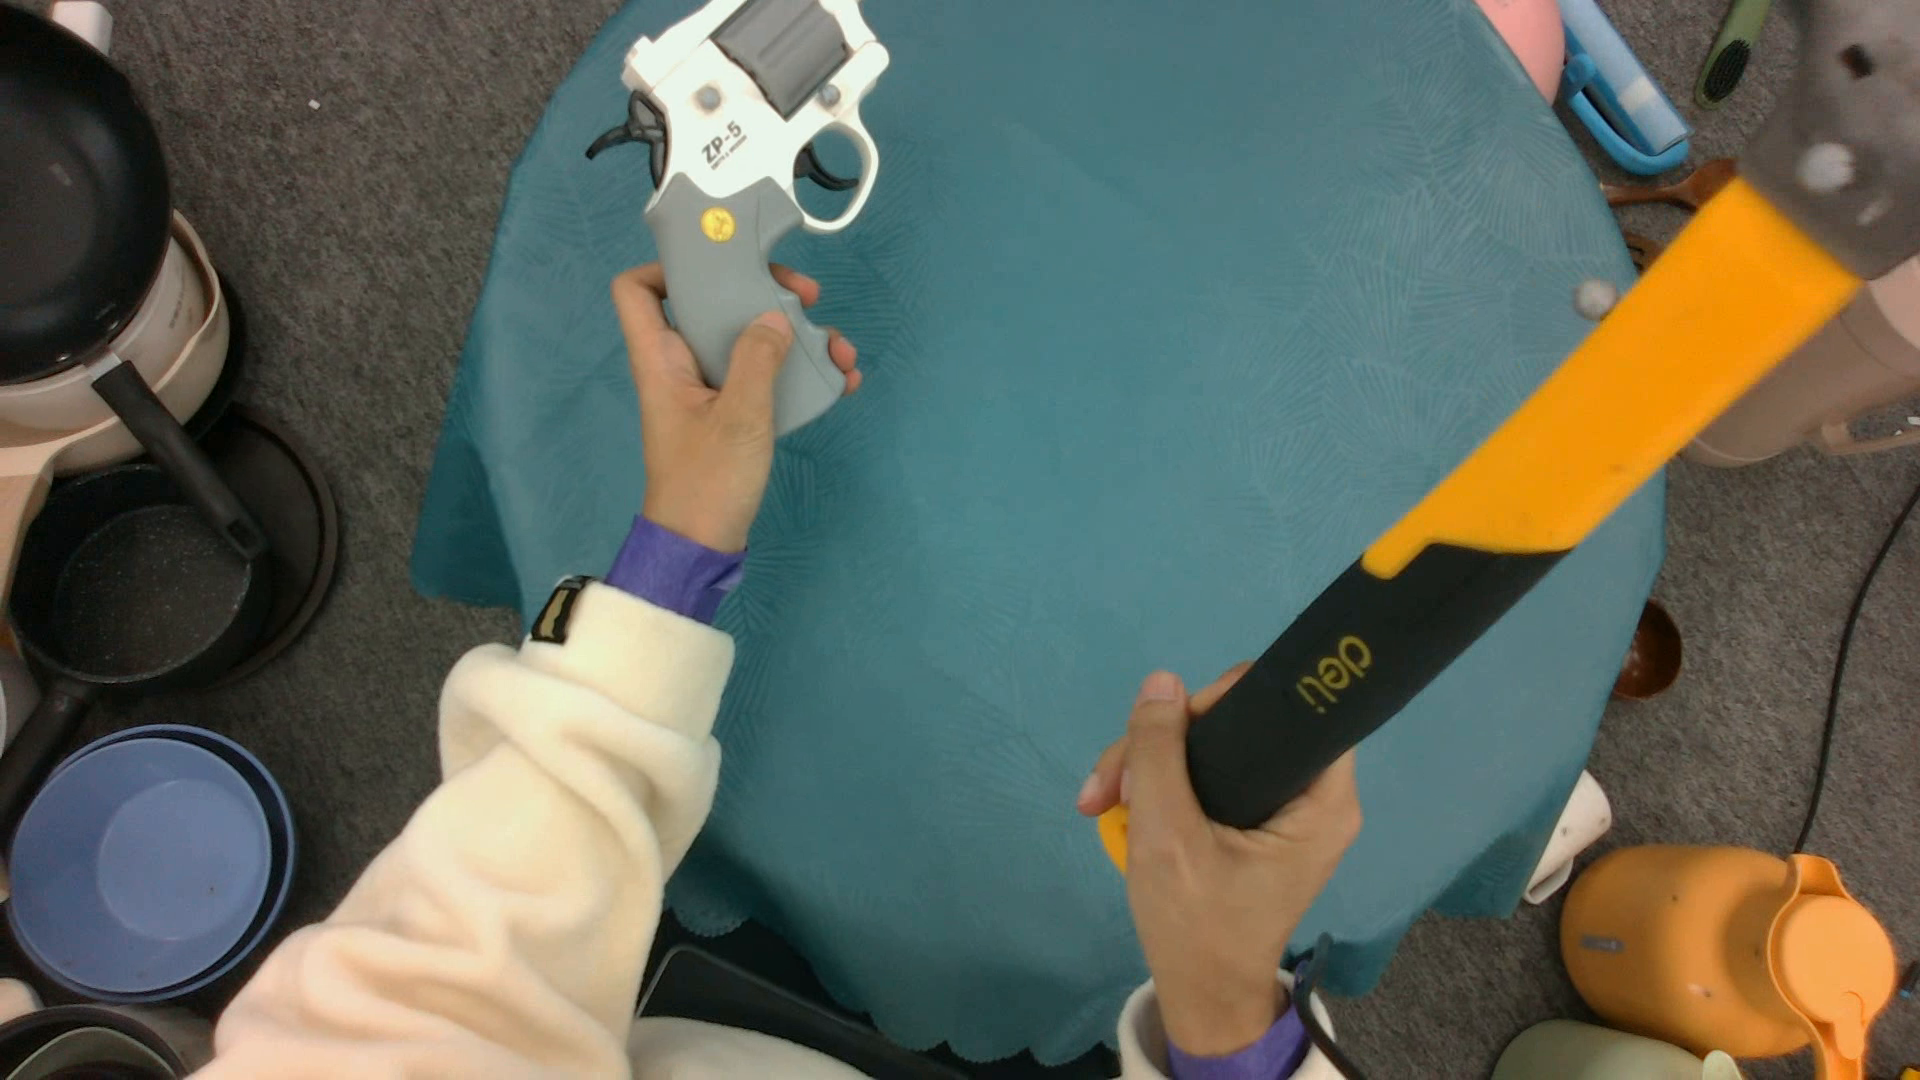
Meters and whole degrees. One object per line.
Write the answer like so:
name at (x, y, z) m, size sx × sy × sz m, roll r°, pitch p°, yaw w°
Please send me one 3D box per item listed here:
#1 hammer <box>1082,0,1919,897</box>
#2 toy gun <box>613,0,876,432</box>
hammer at (0.110, 0.007, 0.335) m, size 0.032 × 0.336 × 0.131 m, roll -27°, pitch 69°, yaw -37°
toy gun at (-0.062, -0.159, 0.538) m, size 0.141 × 0.039 × 0.209 m, roll 43°, pitch 73°, yaw -18°
